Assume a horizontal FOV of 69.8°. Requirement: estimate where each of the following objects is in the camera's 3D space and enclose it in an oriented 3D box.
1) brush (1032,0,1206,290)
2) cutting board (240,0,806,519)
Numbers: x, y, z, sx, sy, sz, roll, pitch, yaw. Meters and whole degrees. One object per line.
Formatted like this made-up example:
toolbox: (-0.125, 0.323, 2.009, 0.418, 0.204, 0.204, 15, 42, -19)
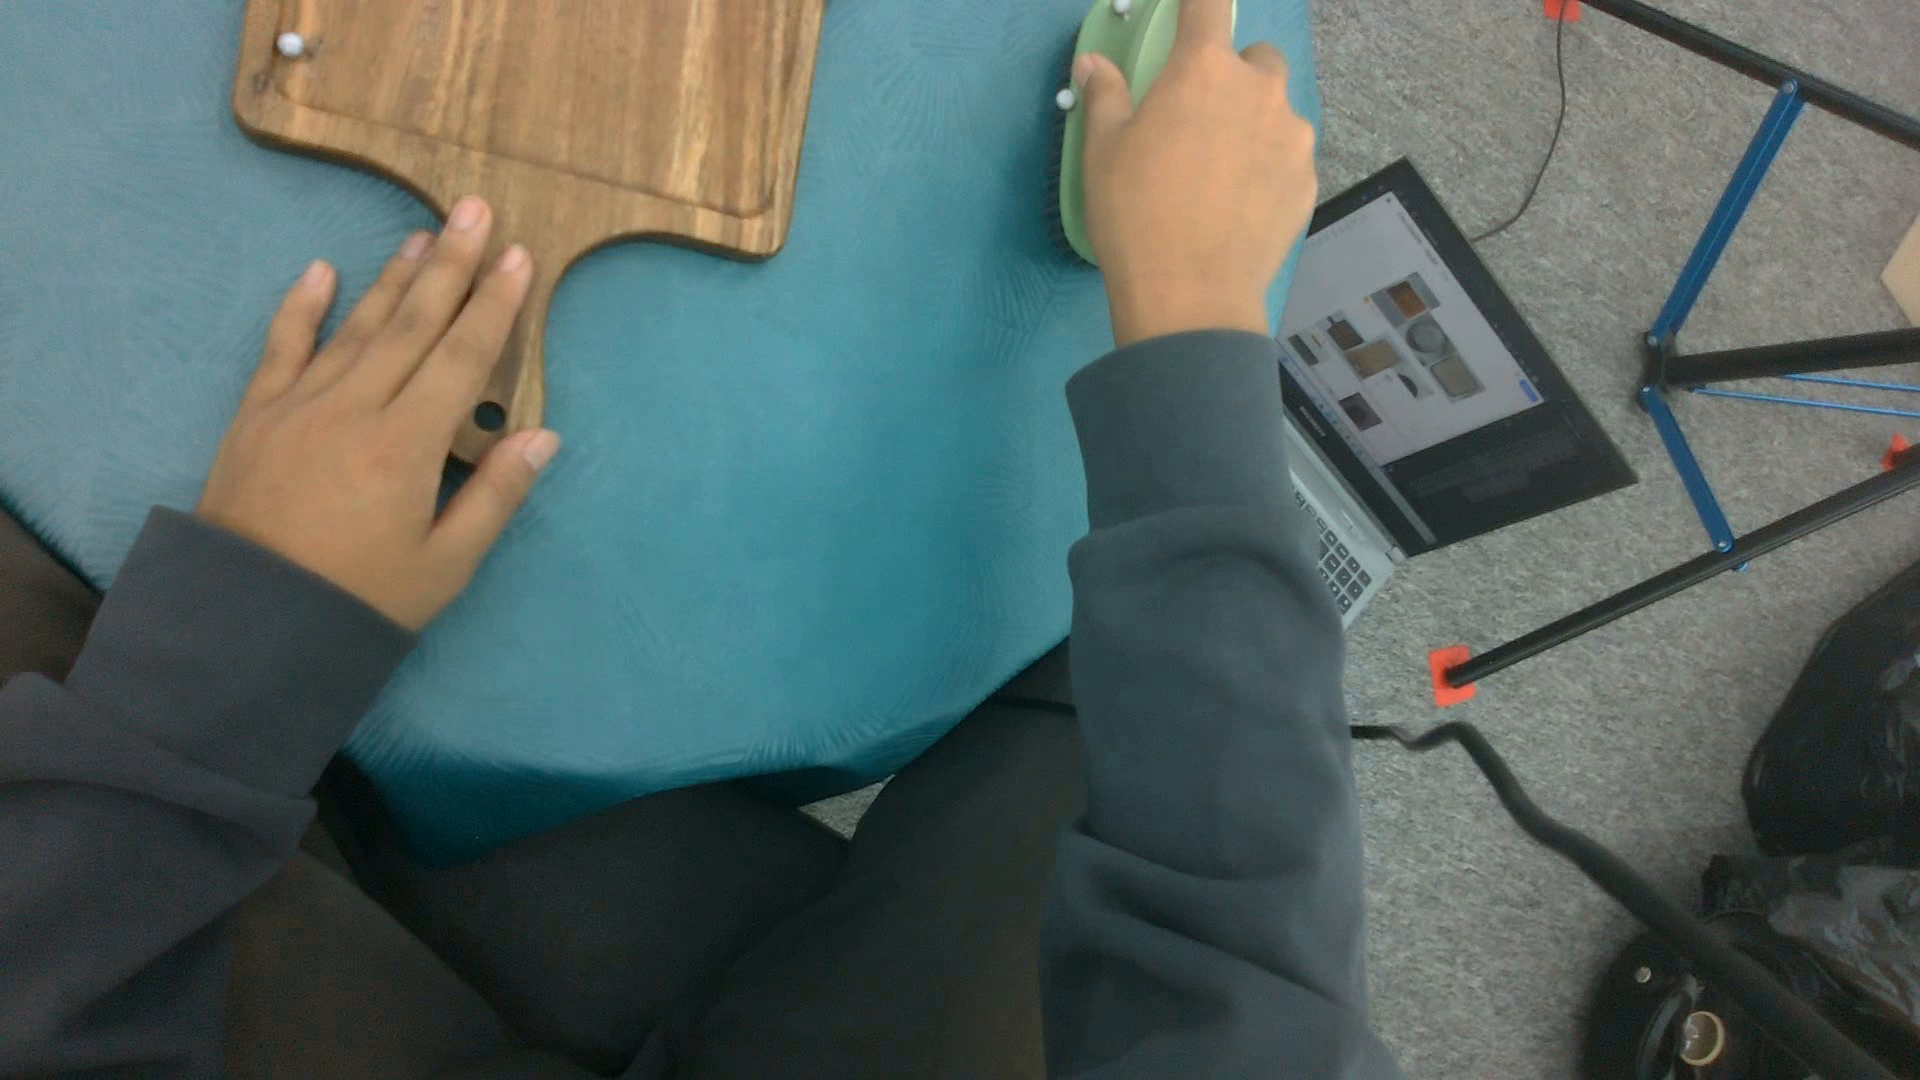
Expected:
brush: (0.068, -0.174, 0.614, 0.060, 0.076, 0.123, 5, 100, -23)
cutting board: (-0.162, -0.184, 0.535, 0.201, 0.023, 0.352, 7, 86, -22)
